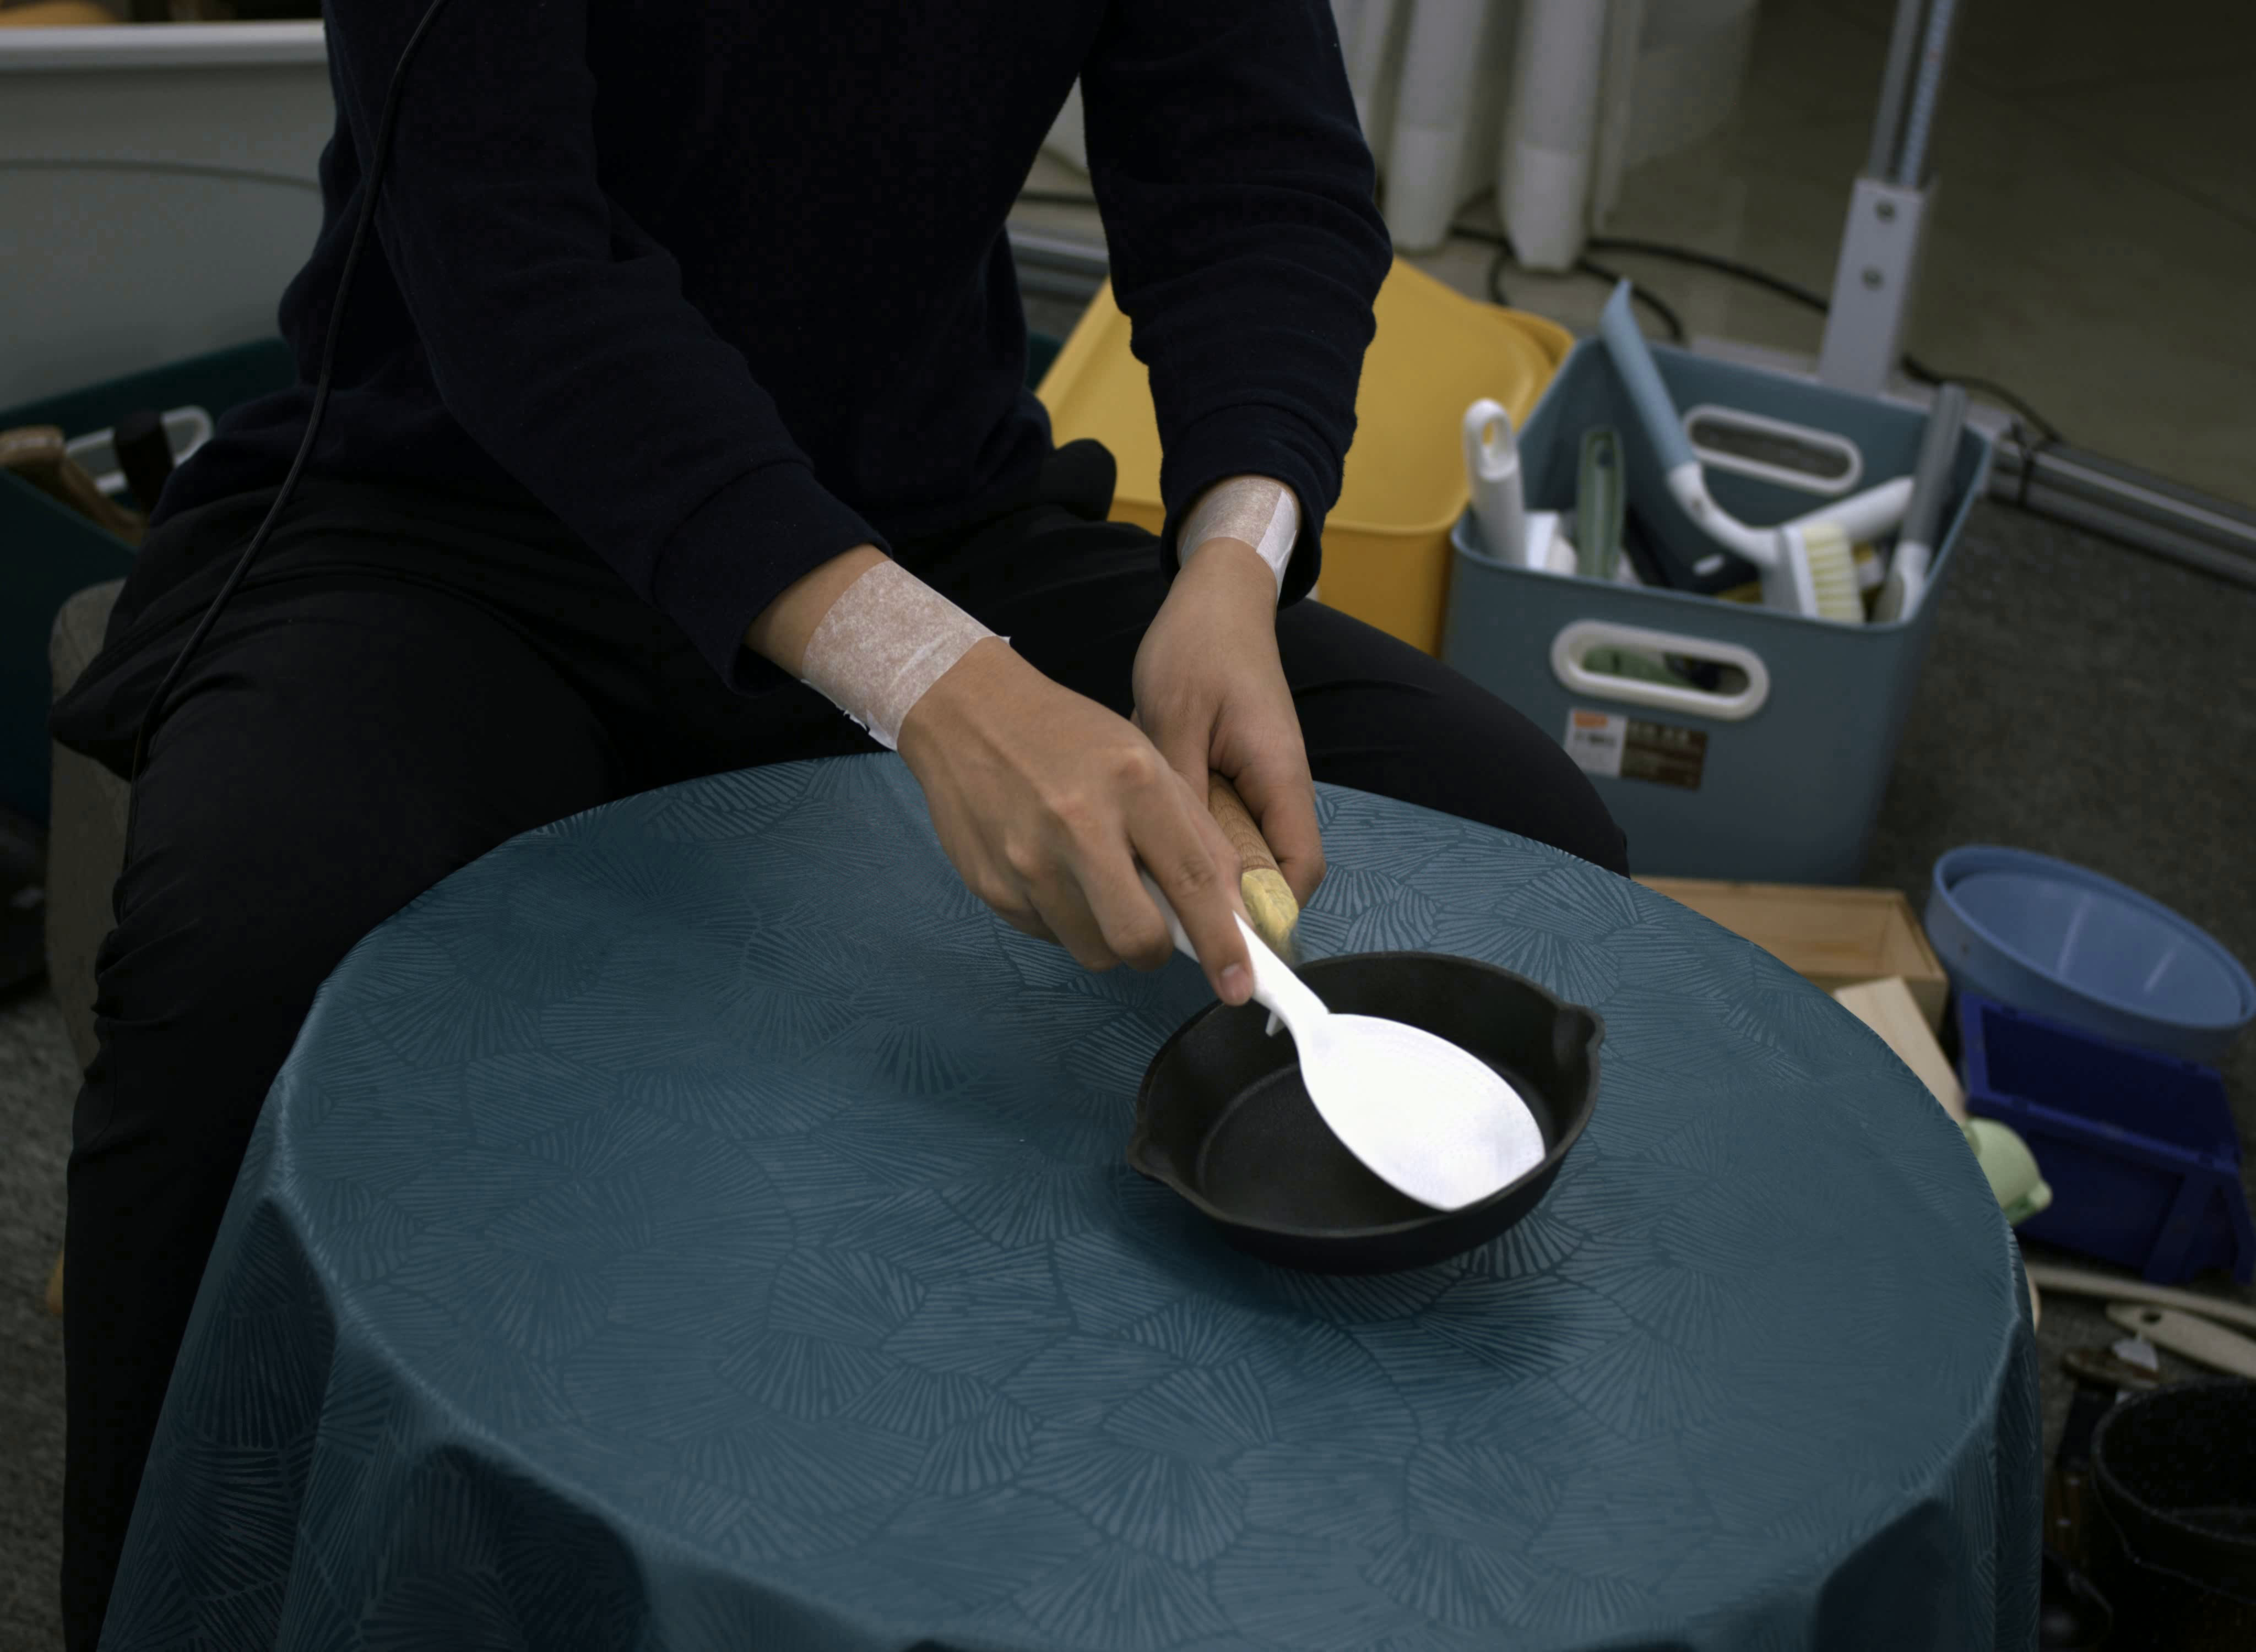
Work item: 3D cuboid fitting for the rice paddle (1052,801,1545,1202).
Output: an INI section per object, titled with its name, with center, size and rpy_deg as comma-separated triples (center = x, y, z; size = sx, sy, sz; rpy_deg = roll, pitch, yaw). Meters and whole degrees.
[rice paddle]
center = 0.059, 0.061, 1.804
size = 0.206, 0.029, 0.068
rpy_deg = 38, 48, 22

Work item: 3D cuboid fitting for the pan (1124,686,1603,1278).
[pan]
center = 0.060, 0.050, 1.862
size = 0.168, 0.049, 0.327
rpy_deg = -15, 35, -7
